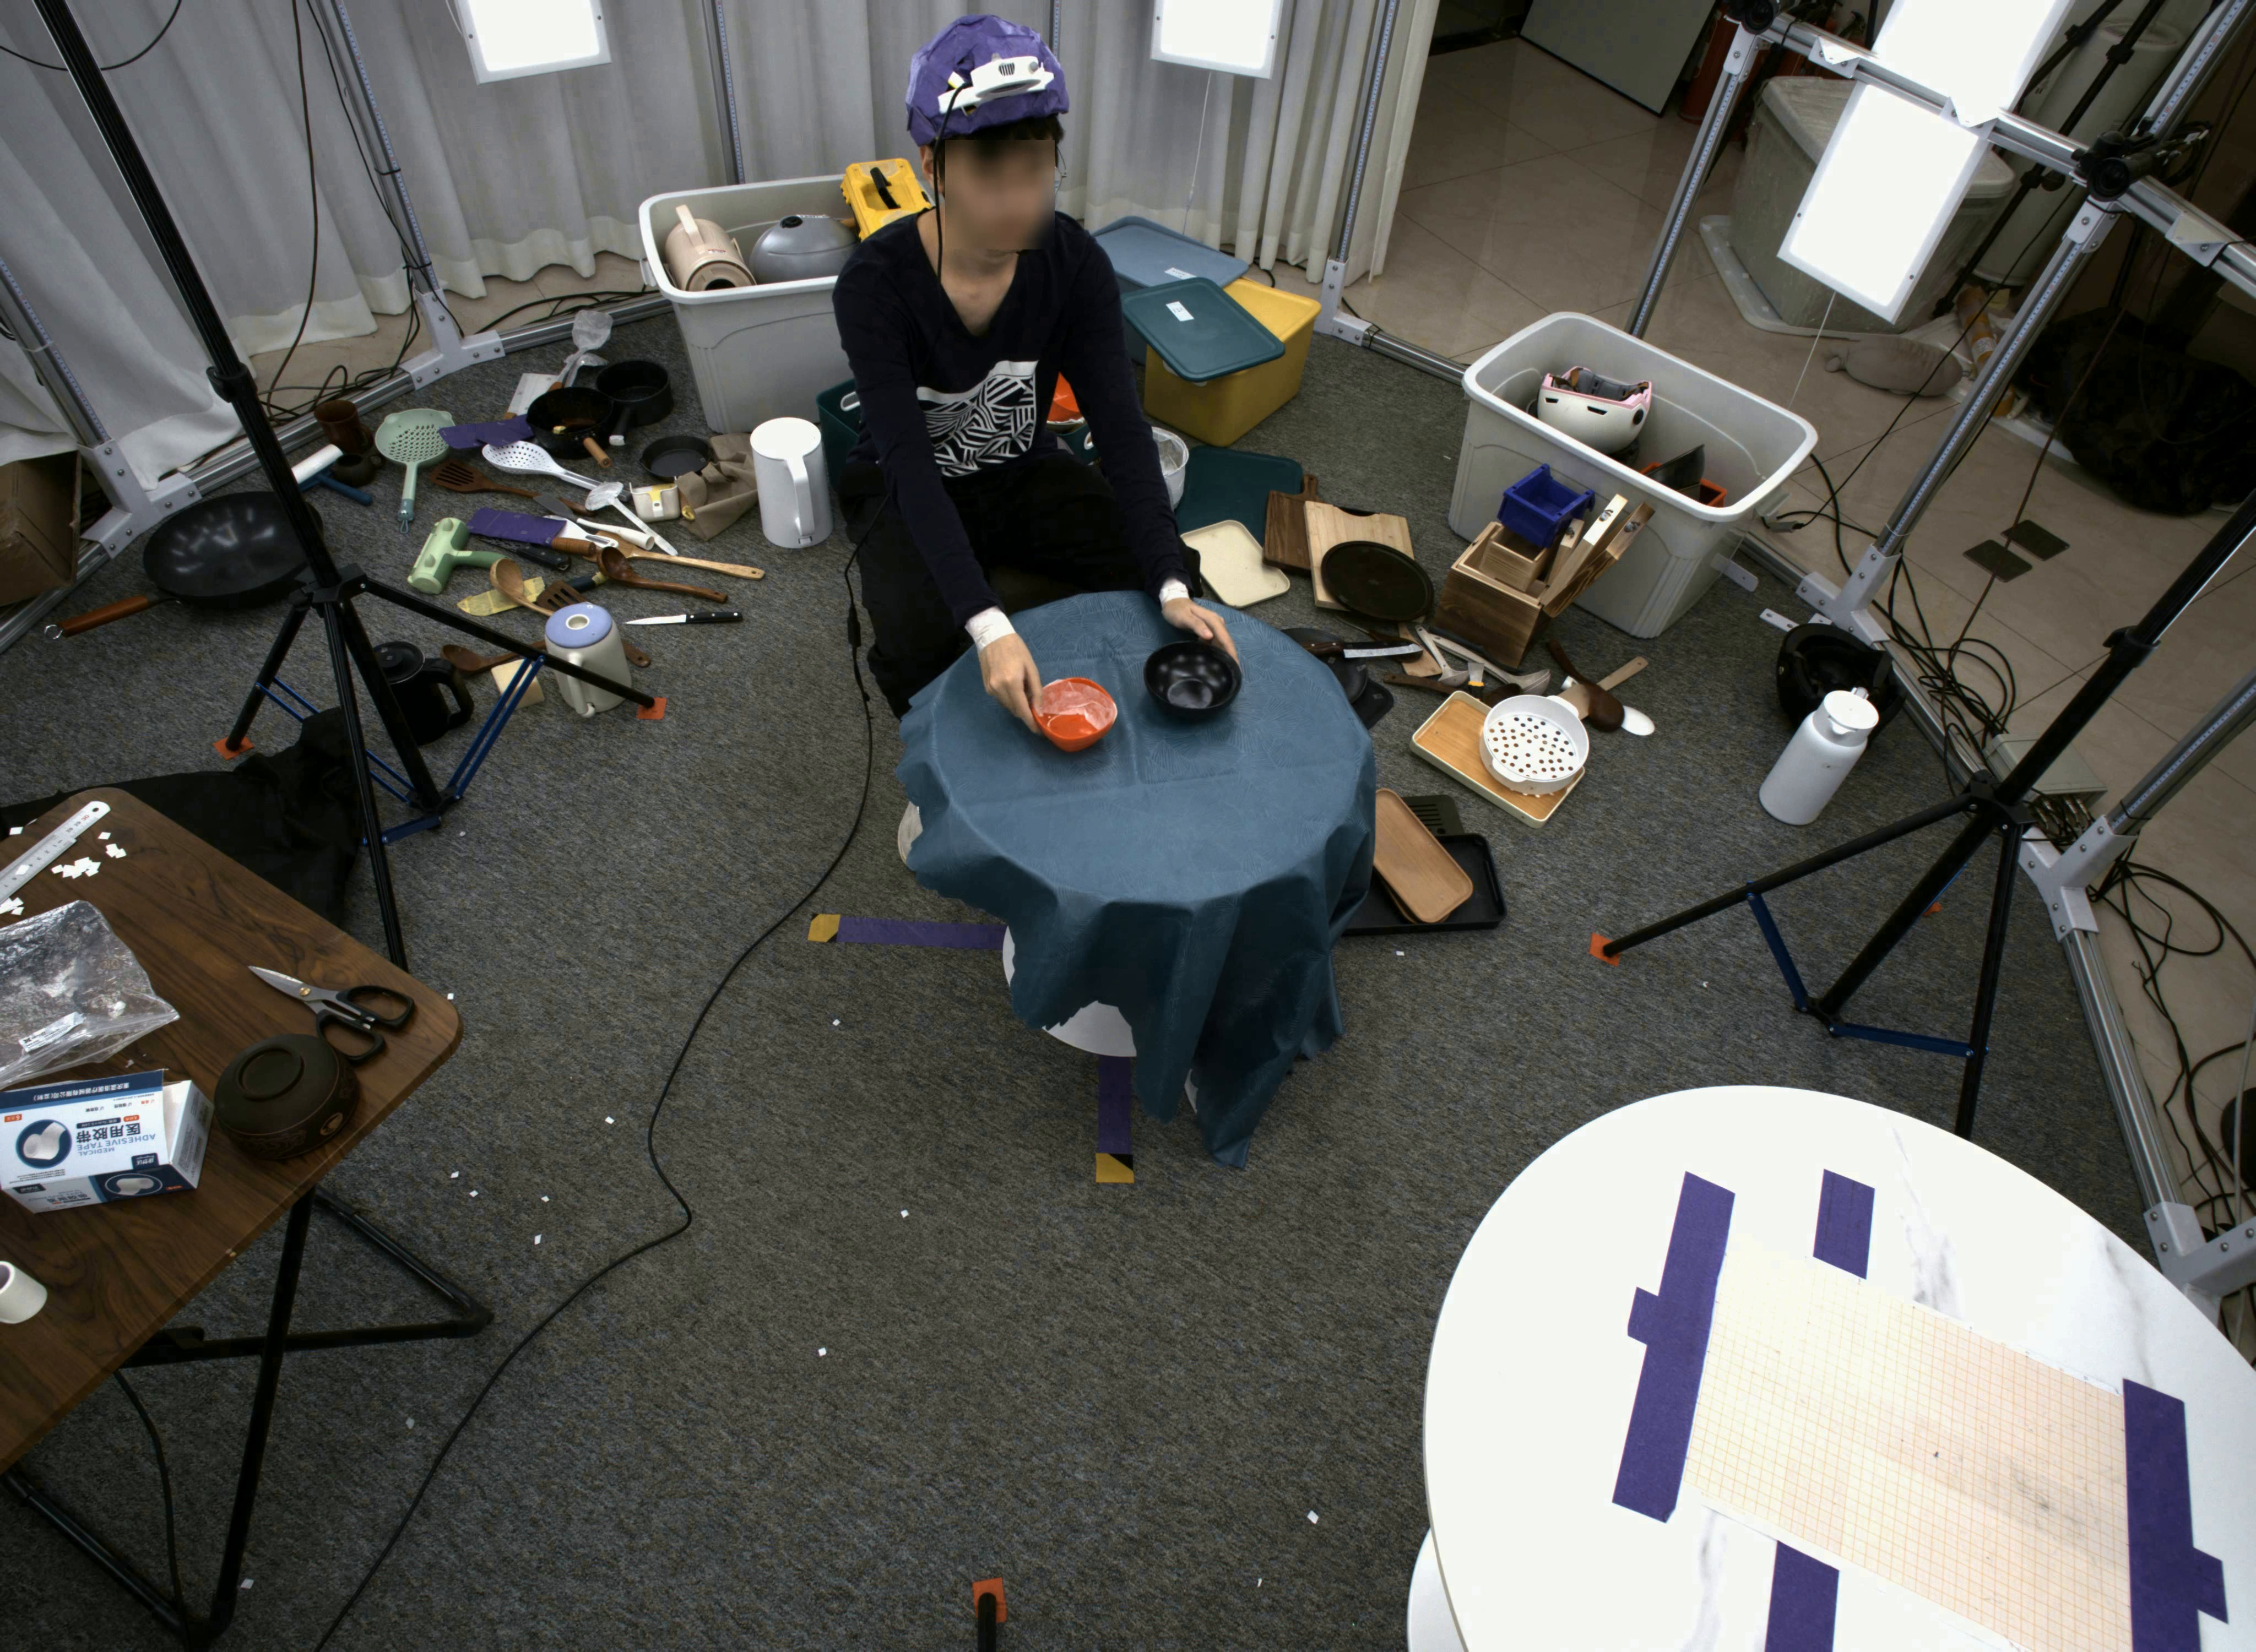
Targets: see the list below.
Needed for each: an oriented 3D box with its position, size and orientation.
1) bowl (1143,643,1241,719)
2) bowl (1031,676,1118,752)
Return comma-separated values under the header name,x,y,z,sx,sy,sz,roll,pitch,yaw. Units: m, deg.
name,x,y,z,sx,sy,sz,roll,pitch,yaw
bowl,0.089,-0.196,1.815,0.140,0.048,0.143,1,46,-1
bowl,-0.074,-0.147,1.755,0.119,0.050,0.122,2,51,-2
